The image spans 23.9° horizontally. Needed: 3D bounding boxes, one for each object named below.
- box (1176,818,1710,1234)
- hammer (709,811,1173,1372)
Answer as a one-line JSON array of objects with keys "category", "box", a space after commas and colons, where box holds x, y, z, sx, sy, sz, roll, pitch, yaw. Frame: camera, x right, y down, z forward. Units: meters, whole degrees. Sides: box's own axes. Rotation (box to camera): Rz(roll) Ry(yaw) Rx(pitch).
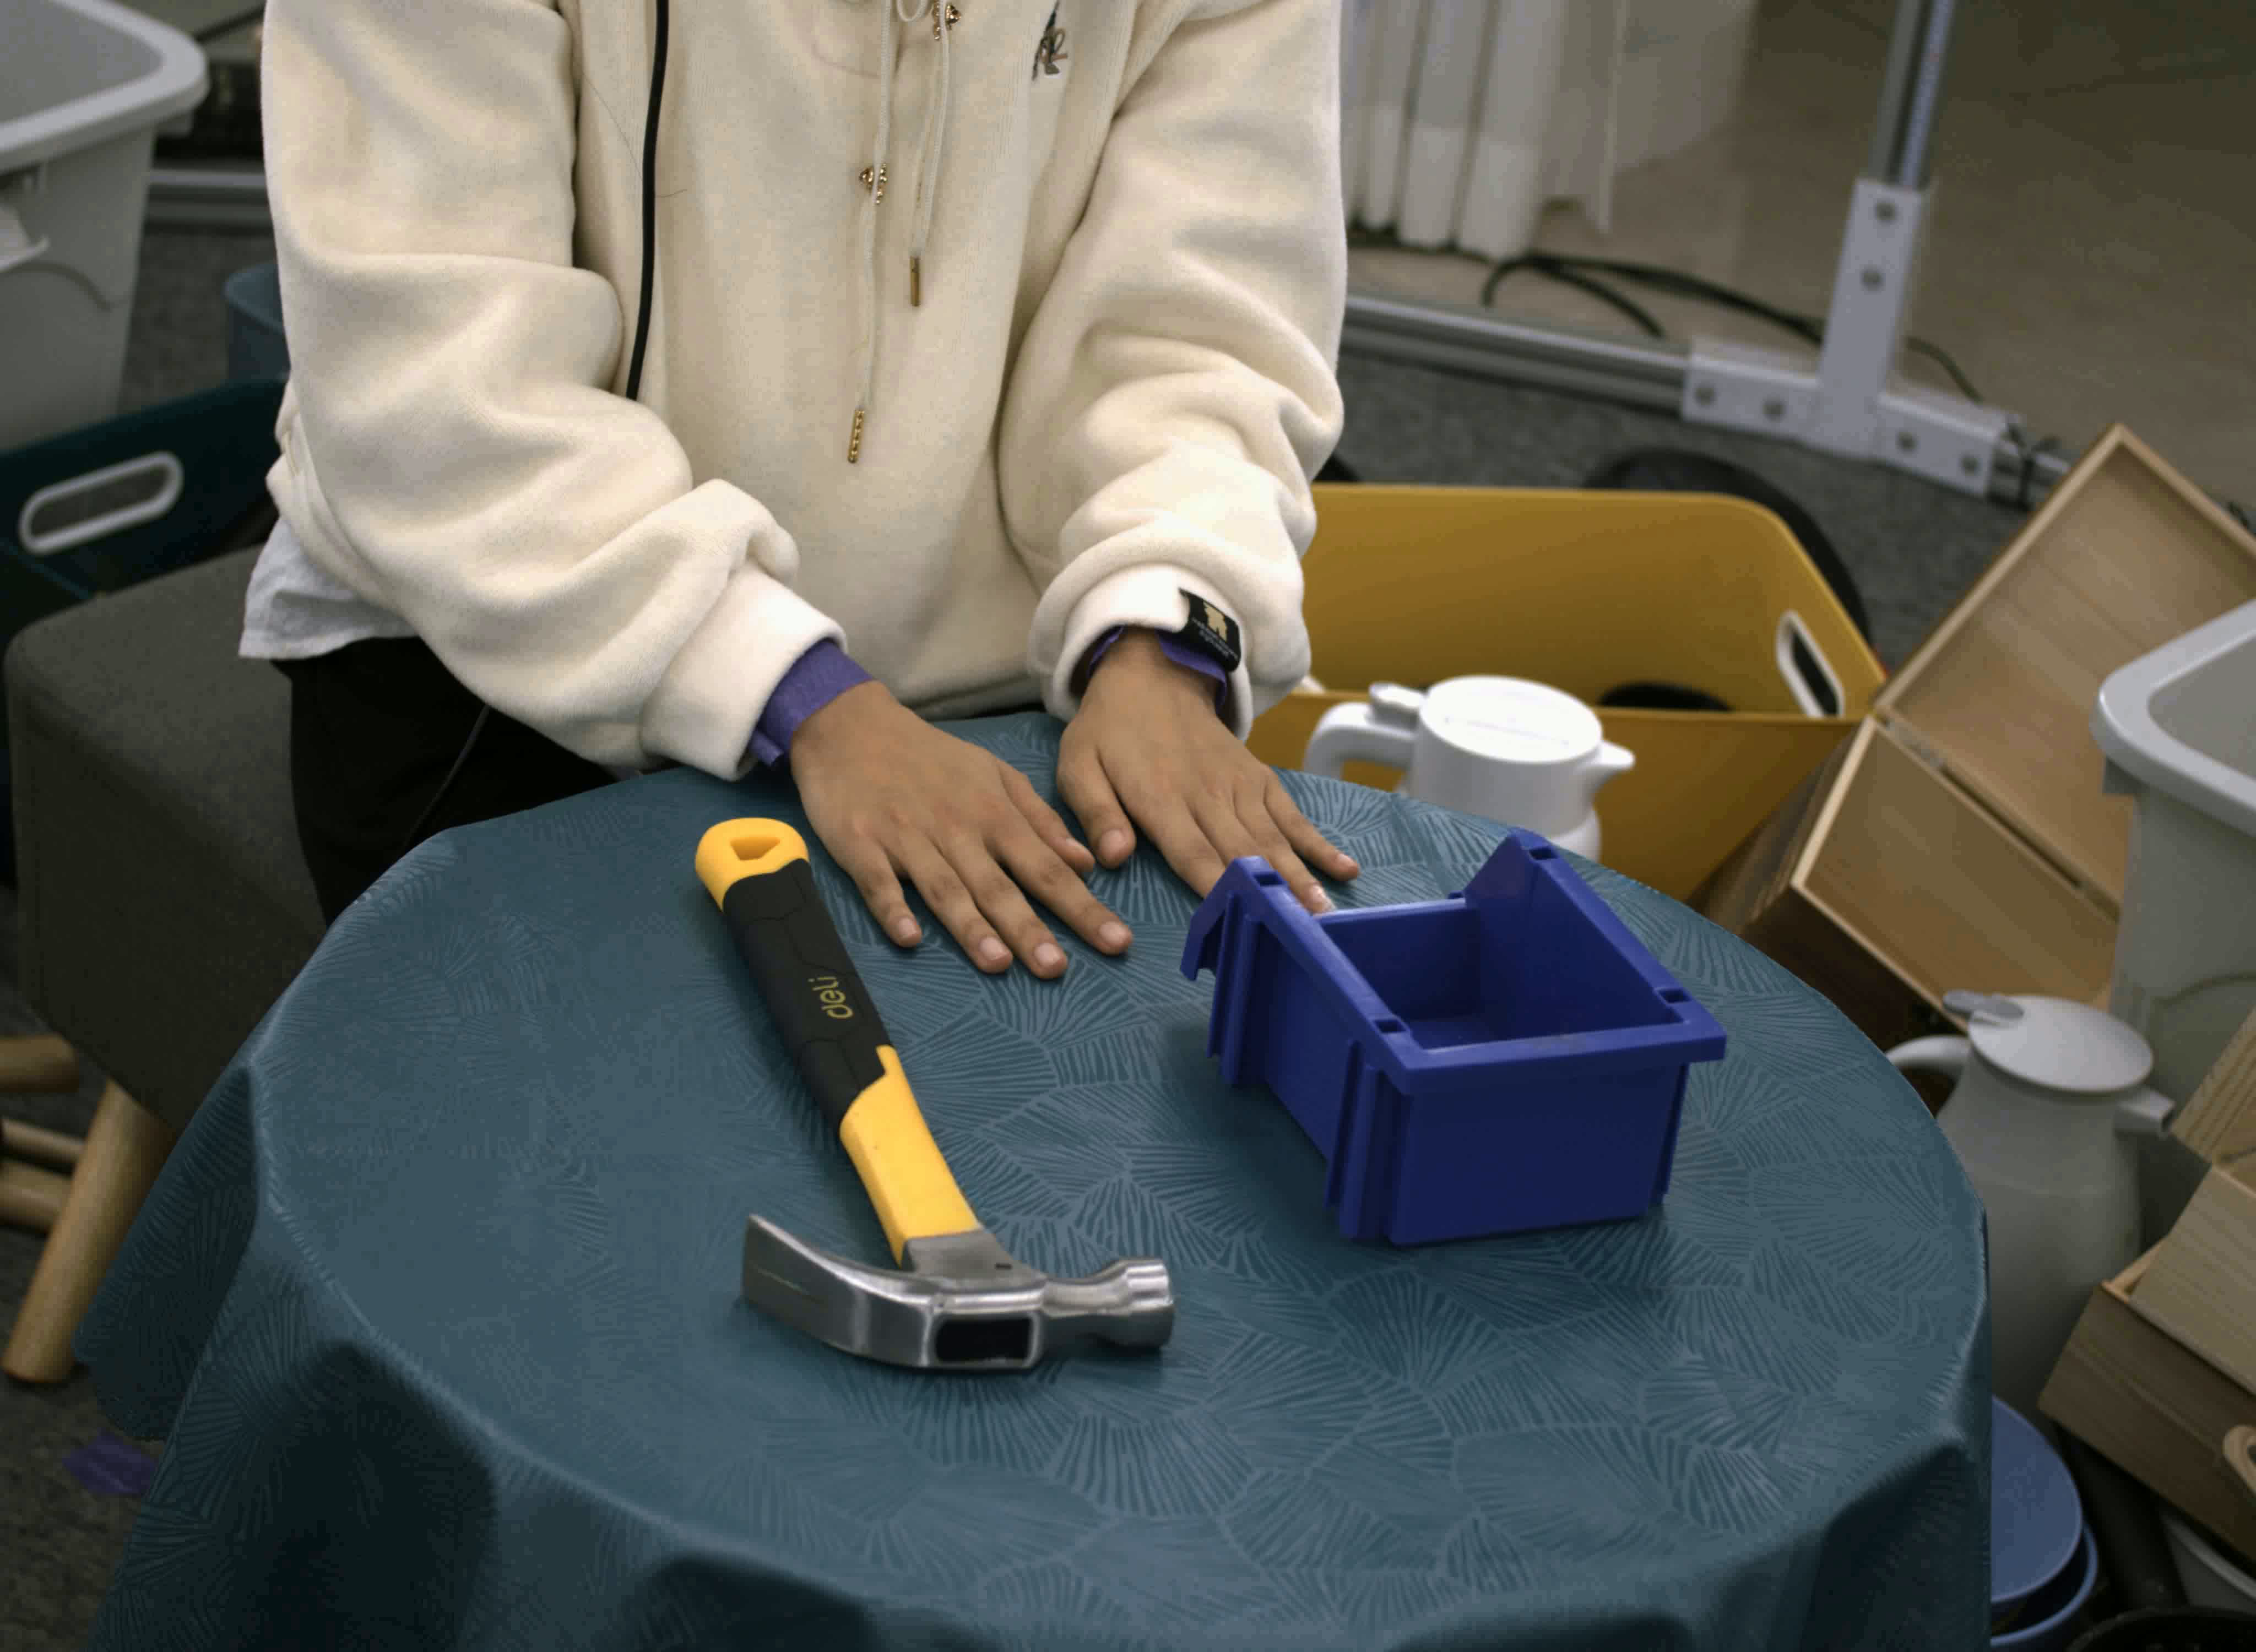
[{"category": "box", "box": [0.104, 0.064, 1.853, 0.124, 0.081, 0.181, -5, 31, -21]}, {"category": "hammer", "box": [-0.092, 0.083, 1.823, 0.130, 0.032, 0.341, -3, 29, -16]}]
